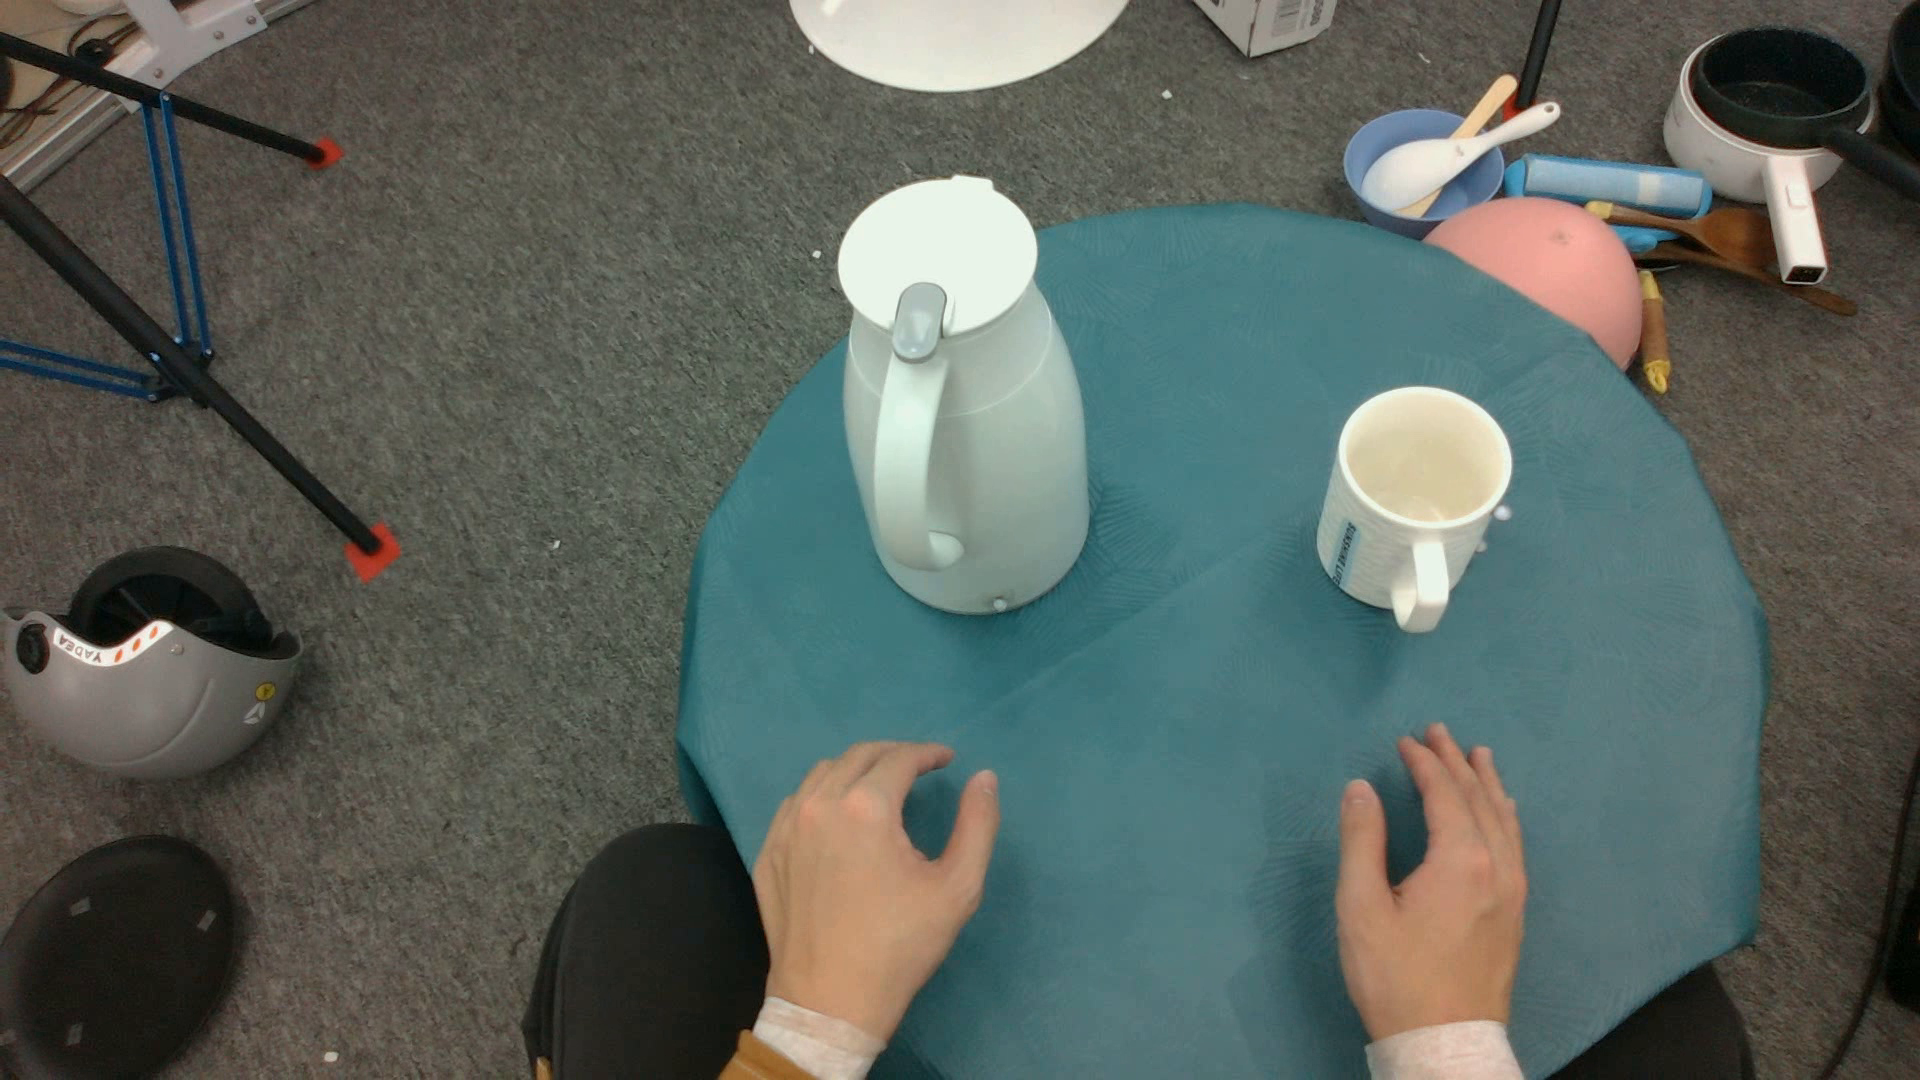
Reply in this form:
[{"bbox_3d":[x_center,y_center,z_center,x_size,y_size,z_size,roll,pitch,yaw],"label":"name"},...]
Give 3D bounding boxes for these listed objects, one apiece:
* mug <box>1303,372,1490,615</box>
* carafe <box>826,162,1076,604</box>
[{"bbox_3d":[0.236,-0.015,0.750,0.085,0.101,0.119,-3,61,5],"label":"mug"},{"bbox_3d":[-0.009,-0.063,0.716,0.132,0.247,0.168,8,62,9],"label":"carafe"}]
